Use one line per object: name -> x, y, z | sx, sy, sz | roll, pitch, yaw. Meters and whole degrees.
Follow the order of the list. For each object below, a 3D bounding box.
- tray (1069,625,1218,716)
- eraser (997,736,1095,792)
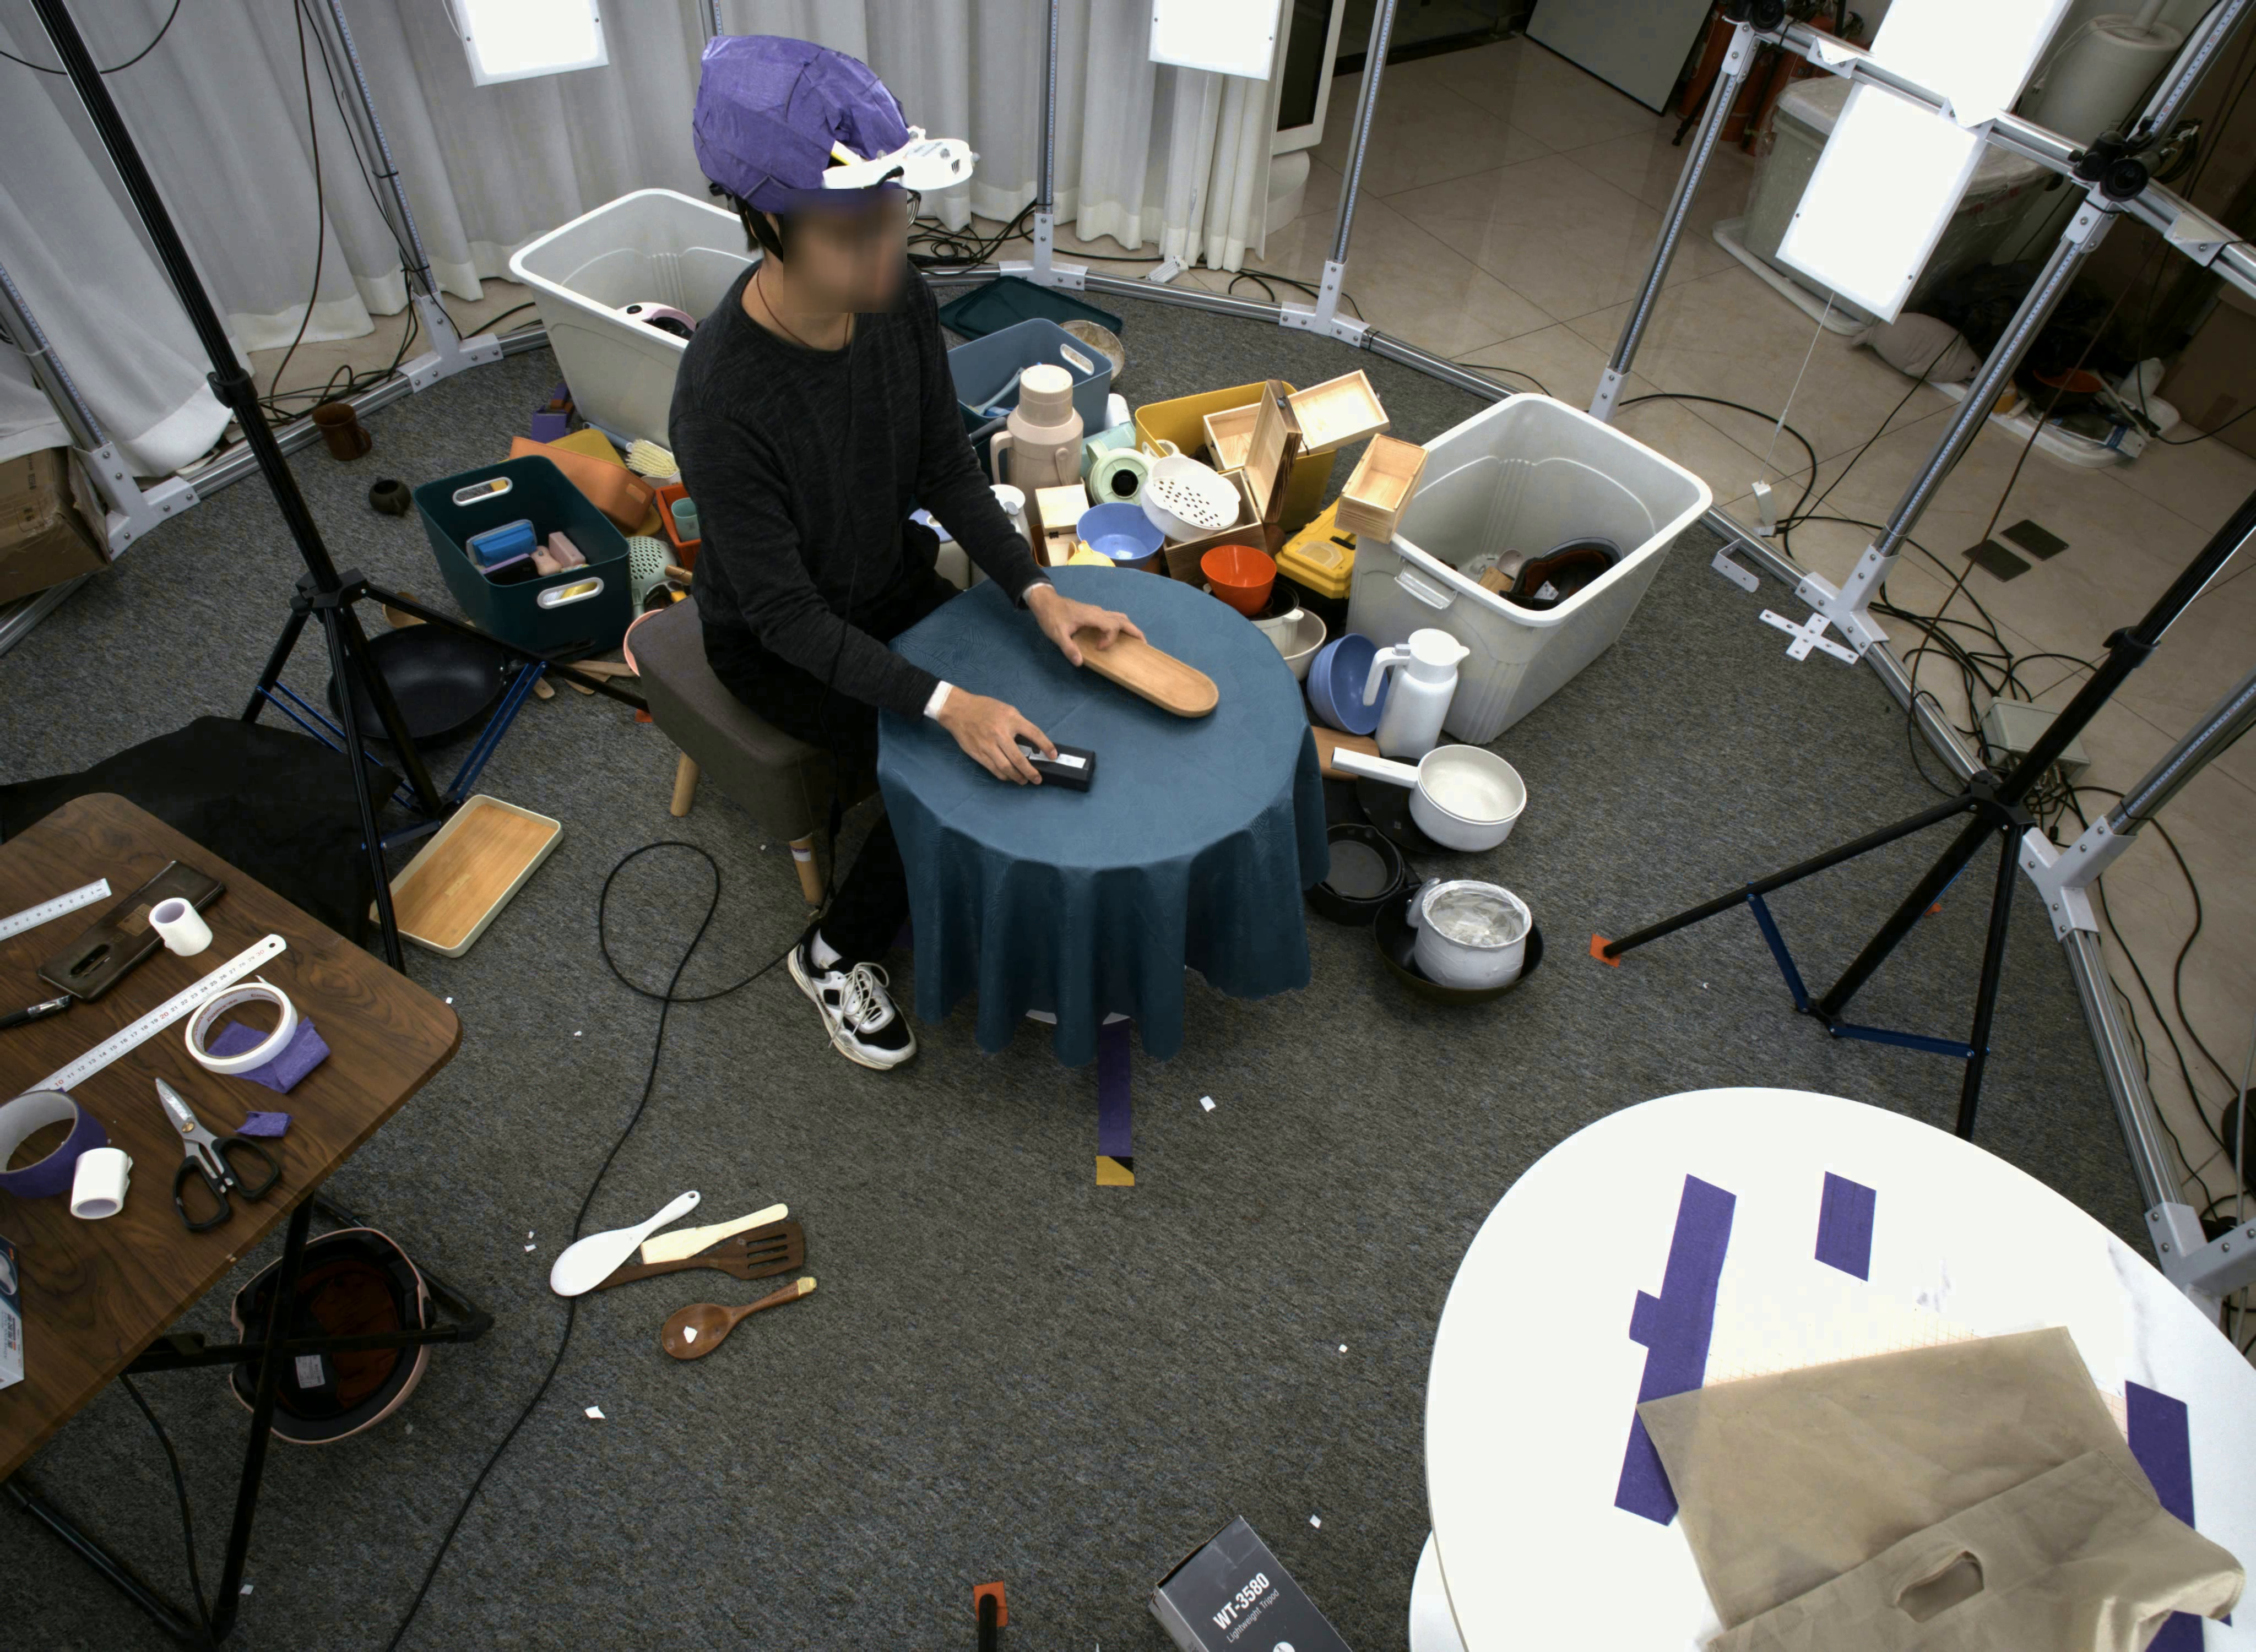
tray -> 0.021, -0.223, 1.837 | 0.233, 0.020, 0.103 | 27, 43, 14
eraser -> -0.109, -0.084, 1.715 | 0.126, 0.030, 0.055 | 12, 52, 6
